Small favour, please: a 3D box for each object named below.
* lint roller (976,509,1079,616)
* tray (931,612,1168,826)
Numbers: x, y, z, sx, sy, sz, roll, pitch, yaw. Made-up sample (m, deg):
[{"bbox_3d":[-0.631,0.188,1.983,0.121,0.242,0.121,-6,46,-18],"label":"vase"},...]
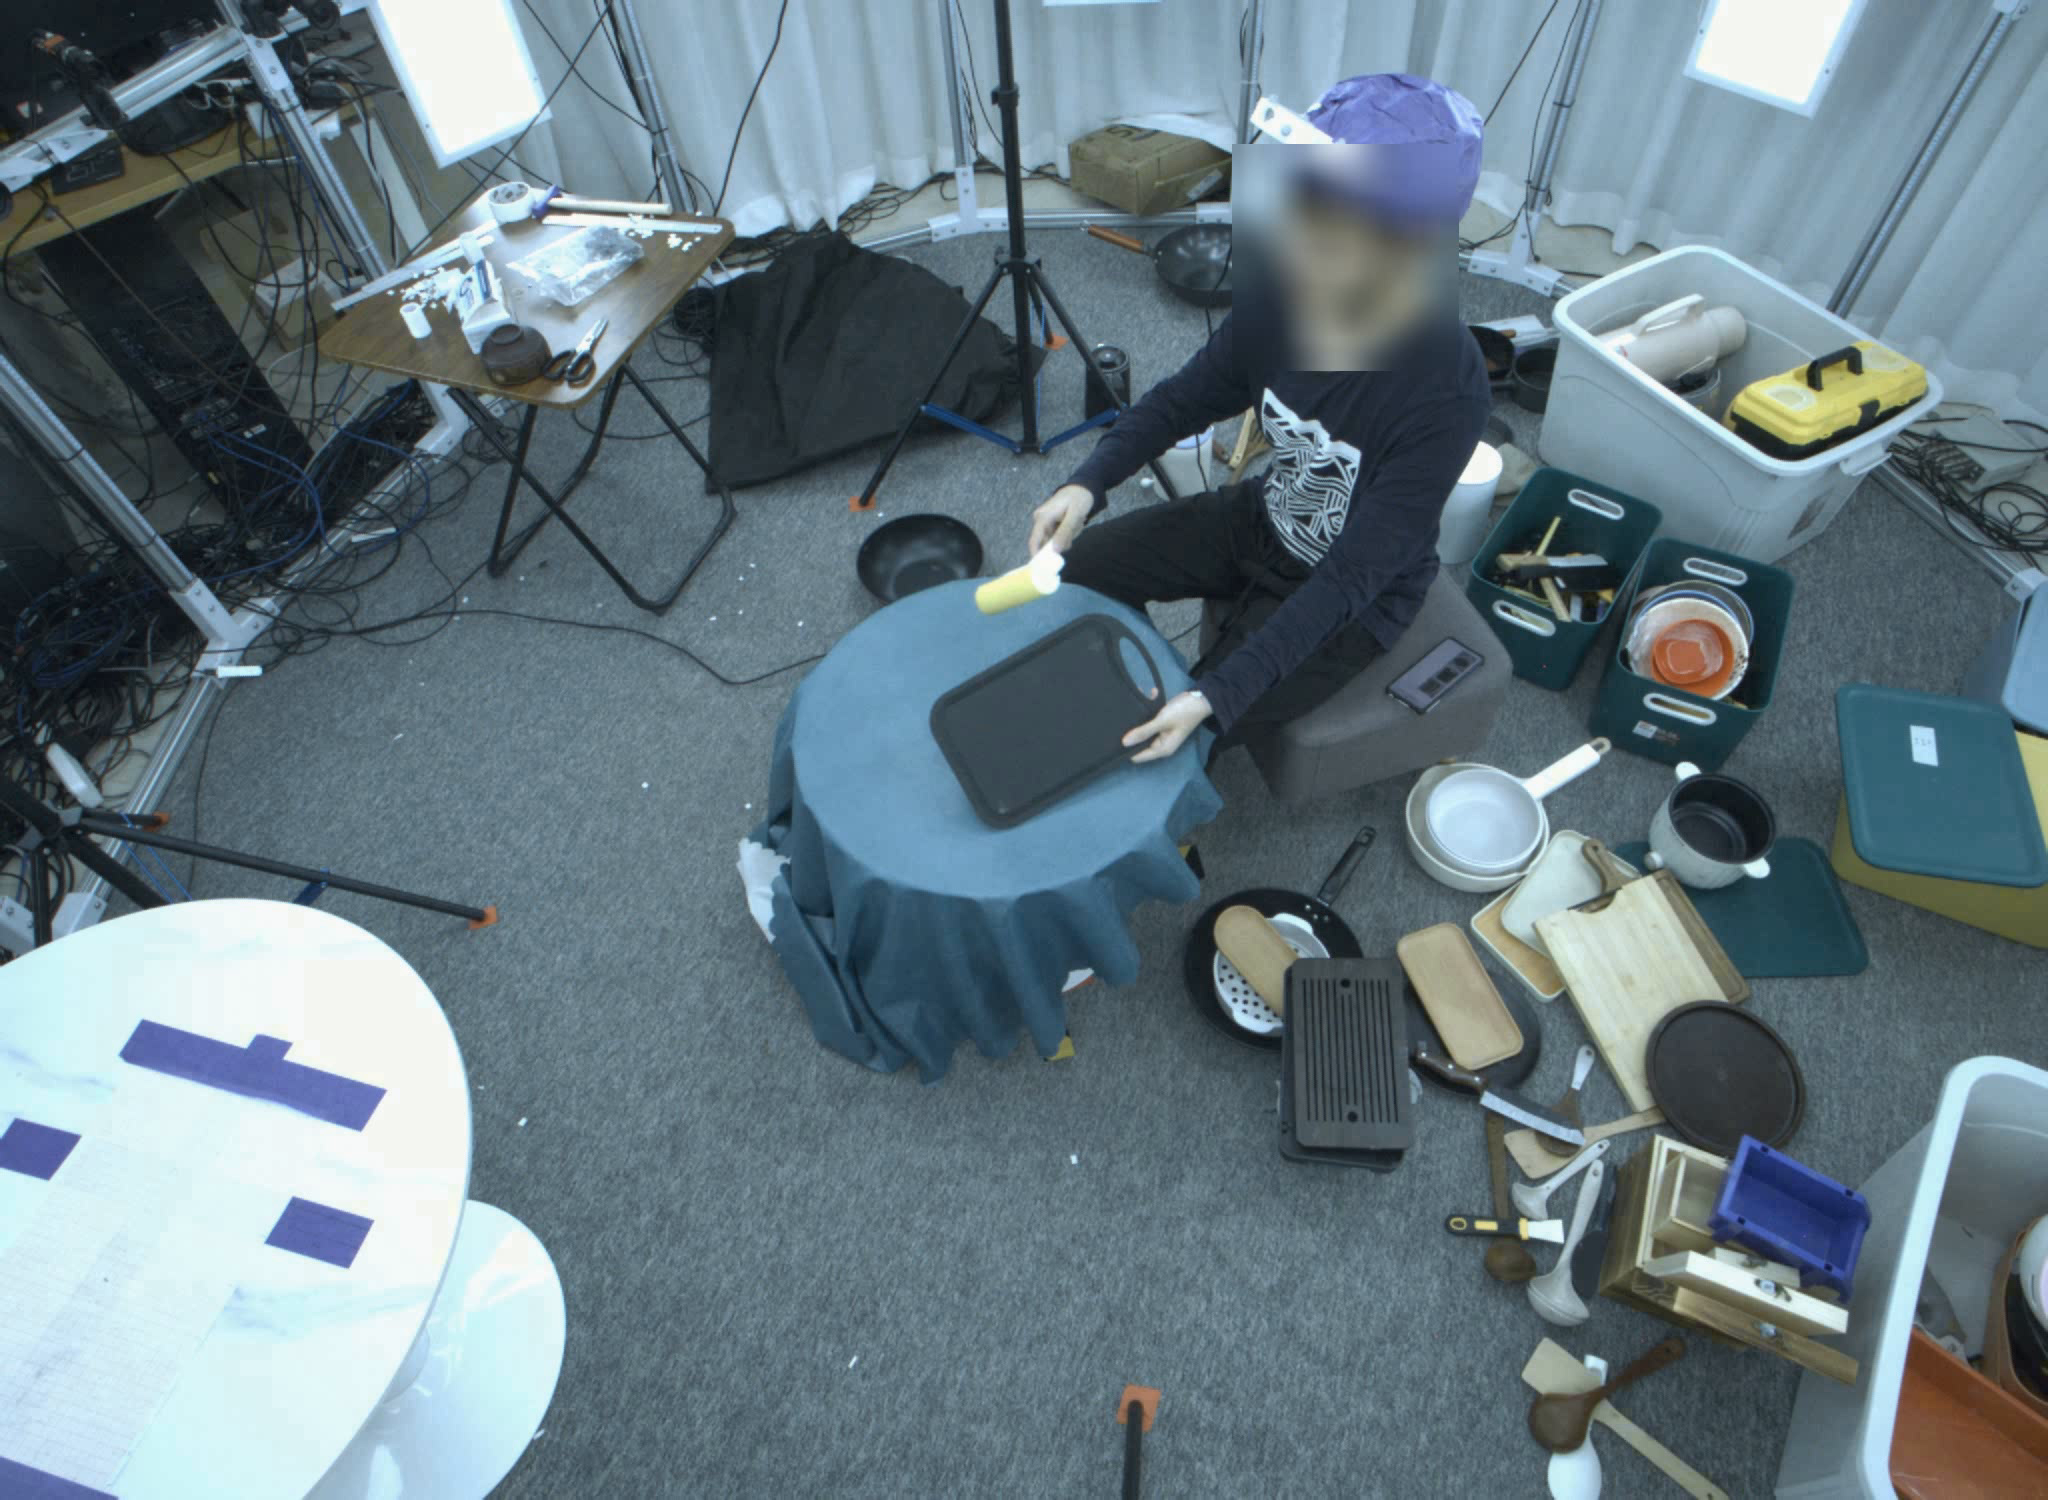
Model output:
[{"bbox_3d":[0.022,-0.290,1.796,0.052,0.171,0.192,36,67,-26],"label":"lint roller"},{"bbox_3d":[0.045,-0.048,1.717,0.327,0.009,0.212,-30,100,-10],"label":"tray"}]
